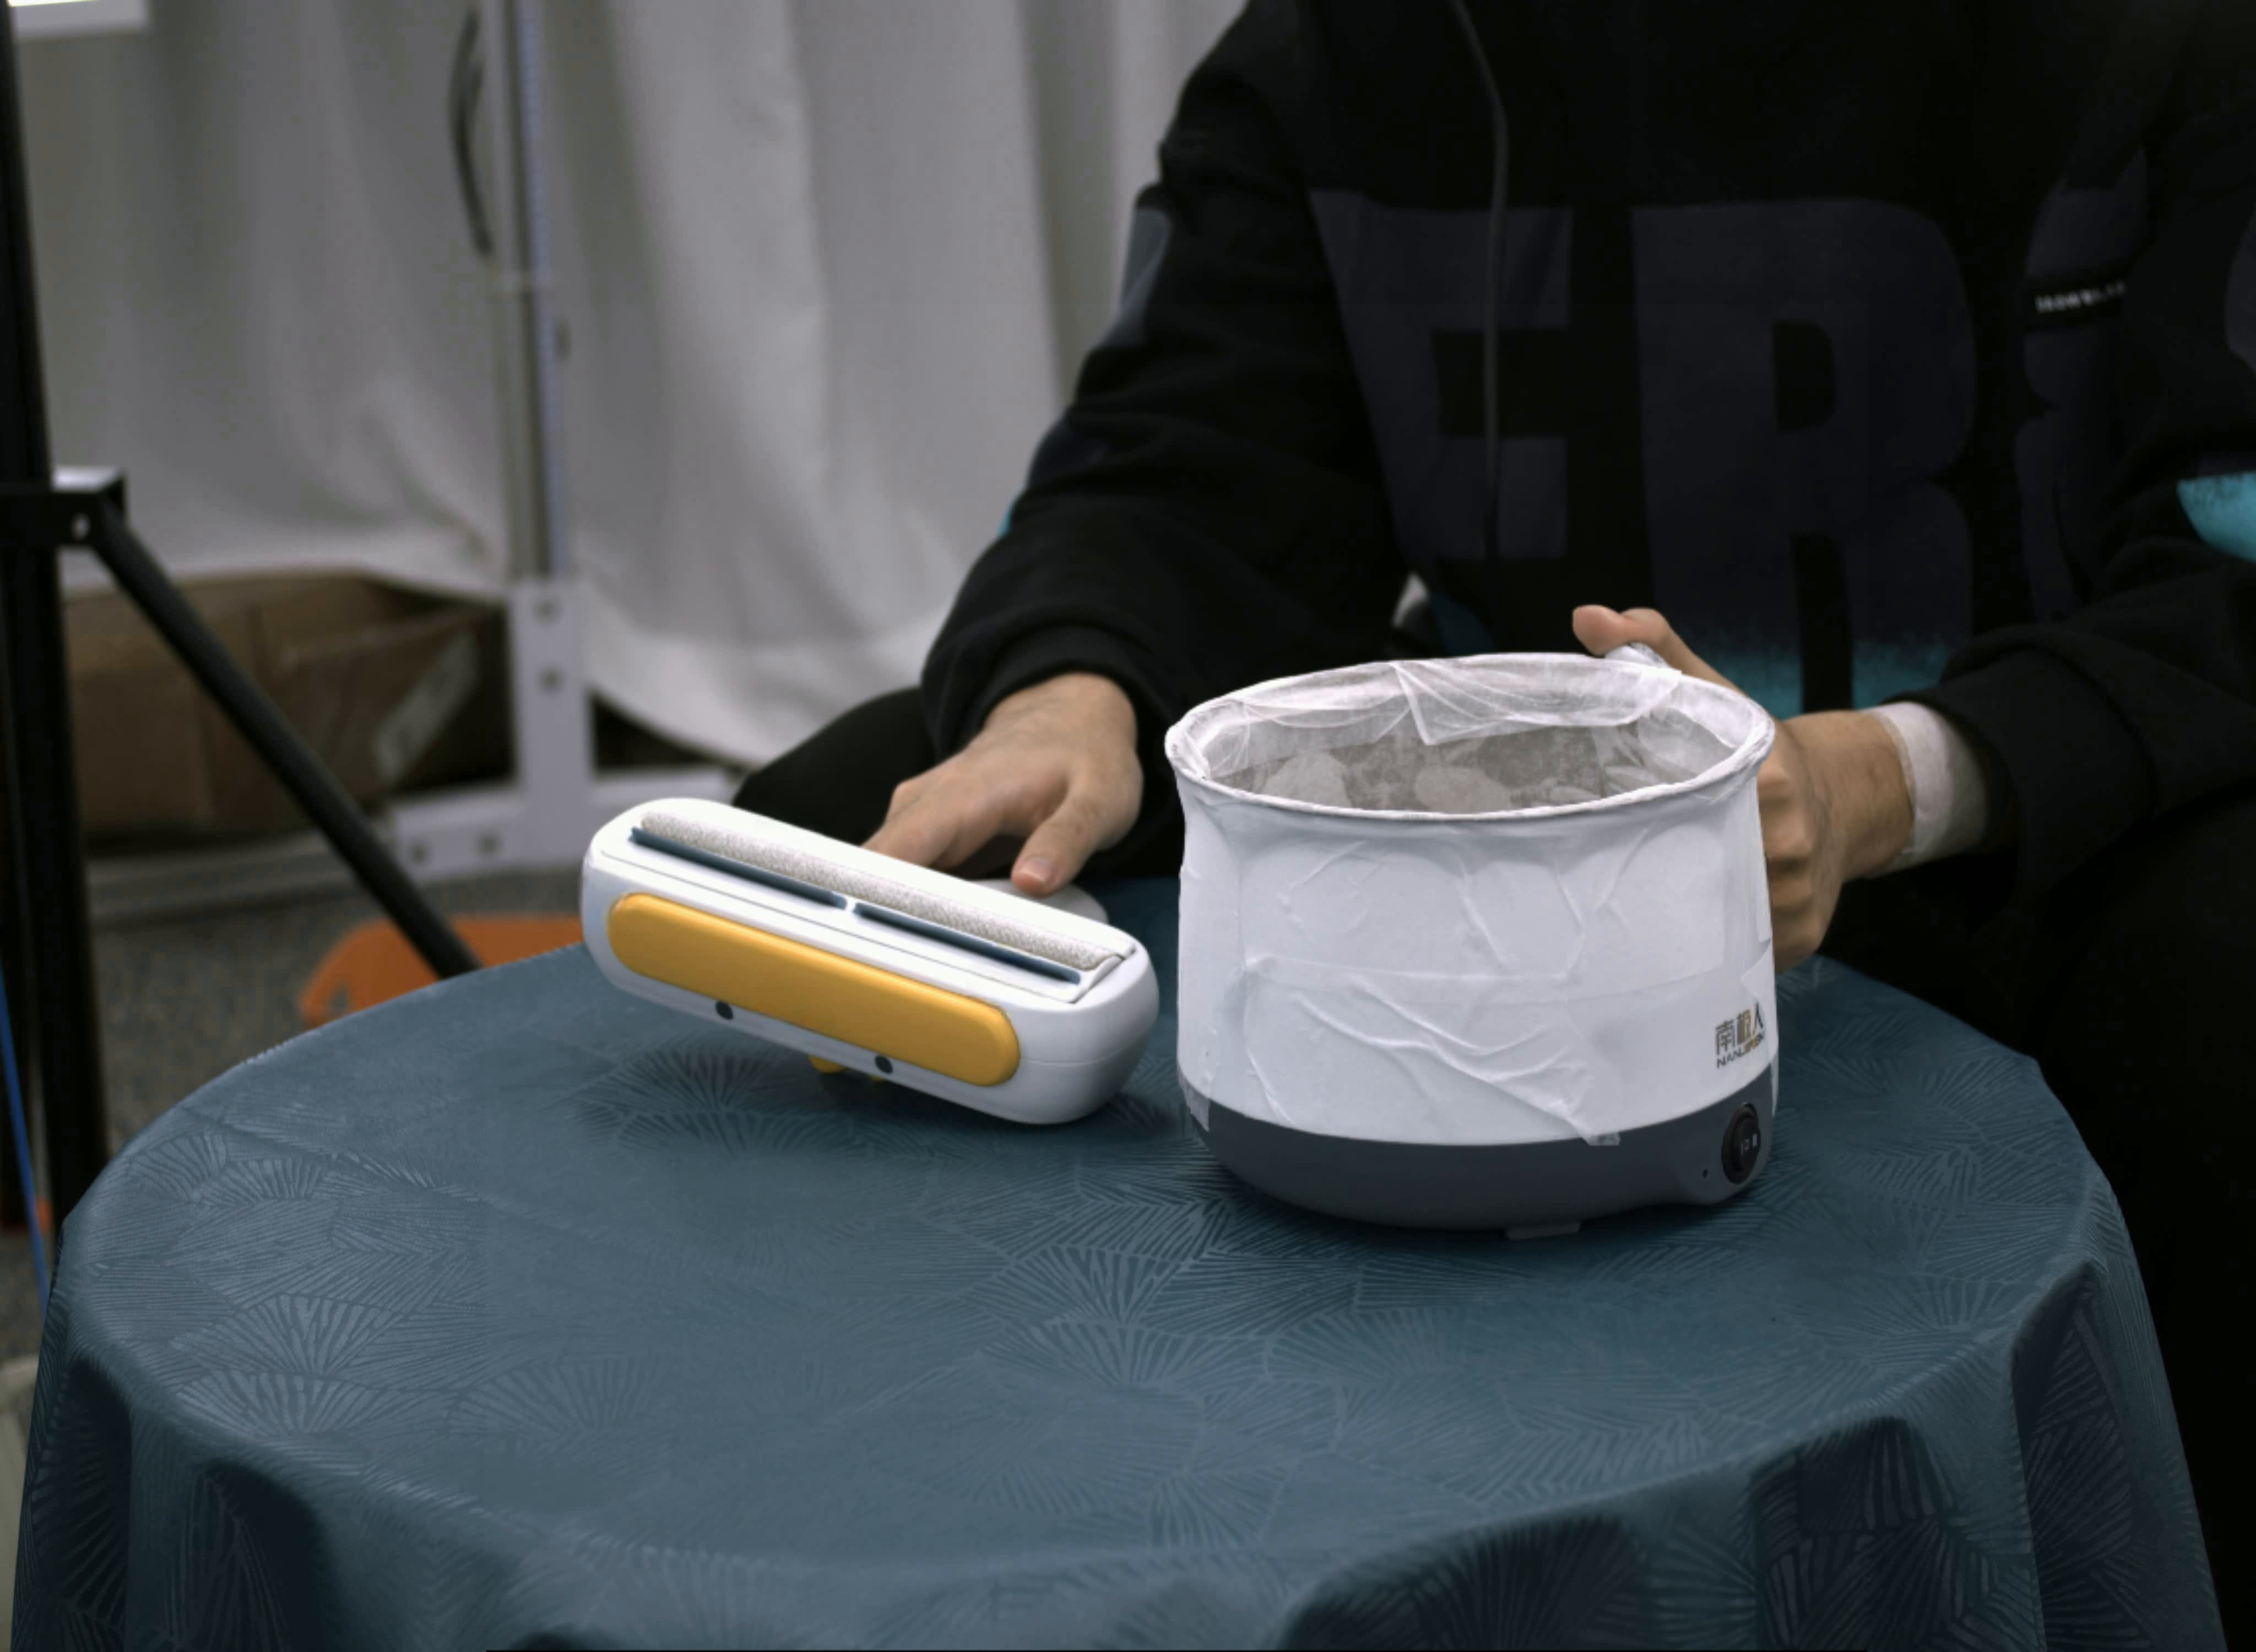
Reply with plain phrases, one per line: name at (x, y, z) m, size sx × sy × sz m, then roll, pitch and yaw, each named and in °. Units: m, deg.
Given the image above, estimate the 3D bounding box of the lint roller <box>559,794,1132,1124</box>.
lint roller at (-0.060, 0.033, 1.707) m, size 0.196 × 0.074 × 0.189 m, roll 14°, pitch 20°, yaw 29°

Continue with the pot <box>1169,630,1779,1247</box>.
pot at (0.116, 0.026, 1.571) m, size 0.182 × 0.136 × 0.229 m, roll 9°, pitch 21°, yaw 32°
